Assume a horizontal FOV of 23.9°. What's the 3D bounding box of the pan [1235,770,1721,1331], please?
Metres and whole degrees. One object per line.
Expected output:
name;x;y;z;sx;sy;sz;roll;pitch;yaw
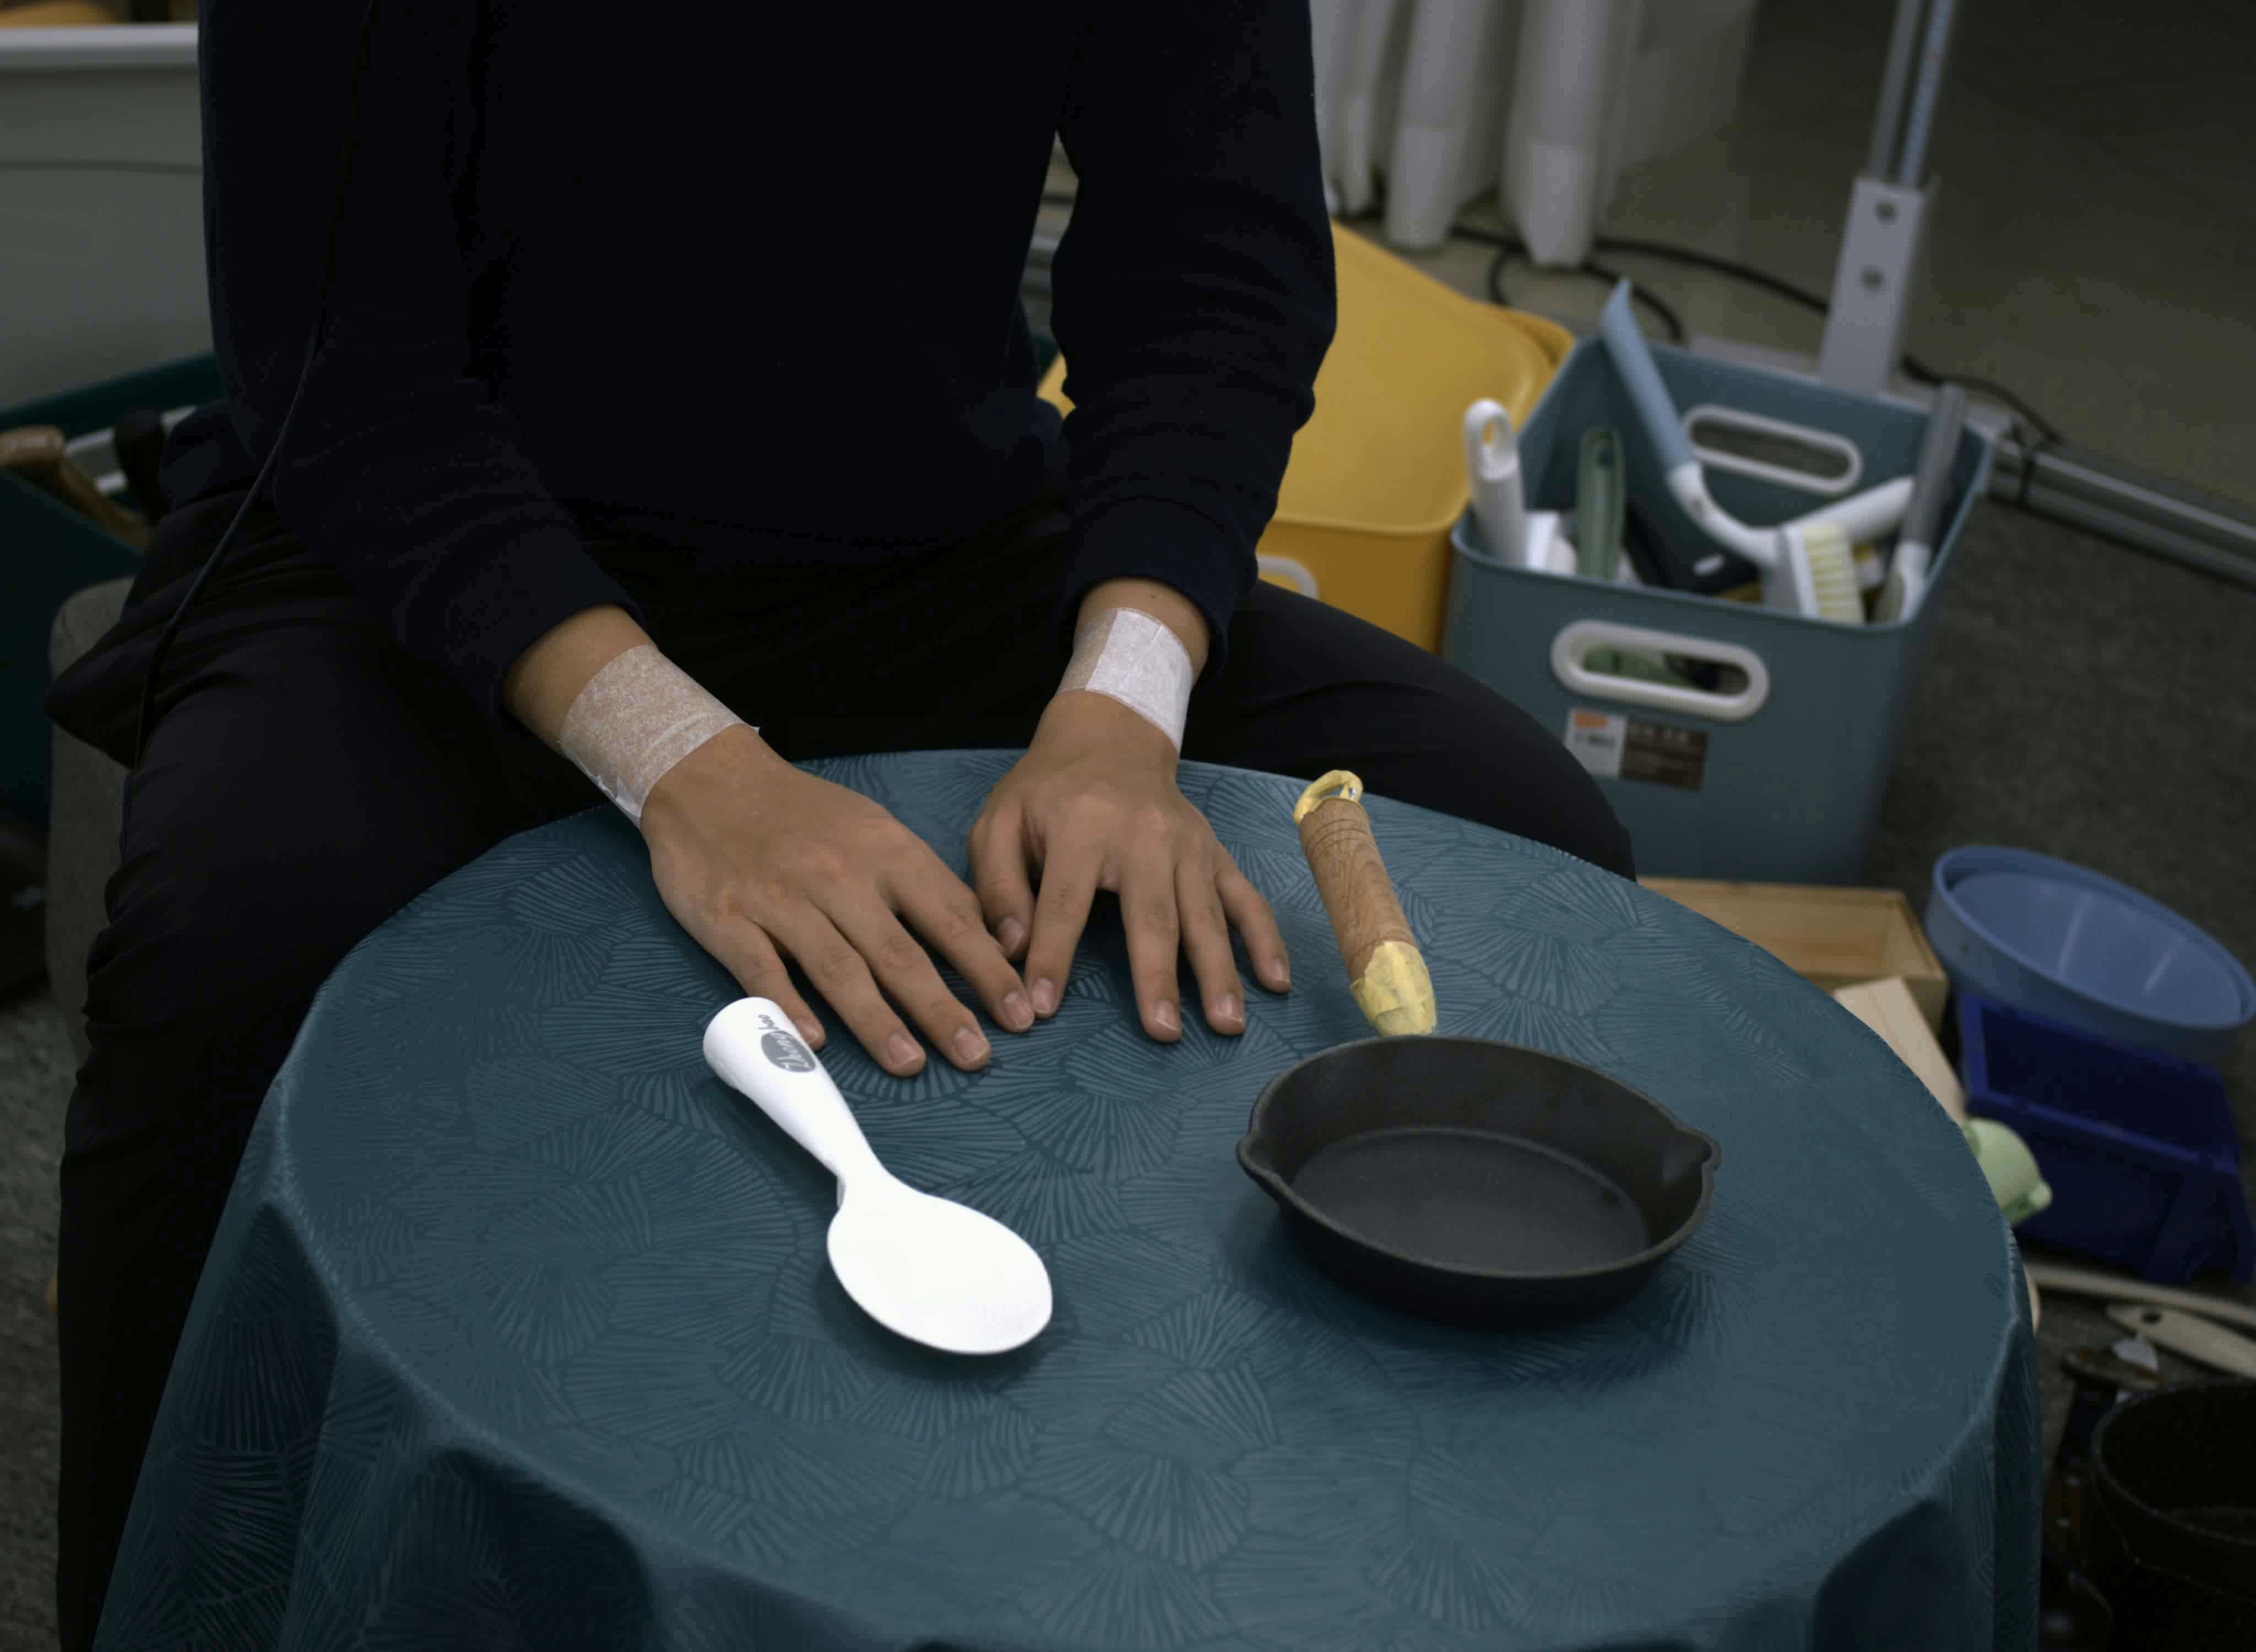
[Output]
pan;0.103;0.076;1.864;0.168;0.049;0.327;1;29;-11

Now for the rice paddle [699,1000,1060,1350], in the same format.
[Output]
rice paddle;-0.086;0.117;1.764;0.068;0.029;0.207;-10;31;-26
